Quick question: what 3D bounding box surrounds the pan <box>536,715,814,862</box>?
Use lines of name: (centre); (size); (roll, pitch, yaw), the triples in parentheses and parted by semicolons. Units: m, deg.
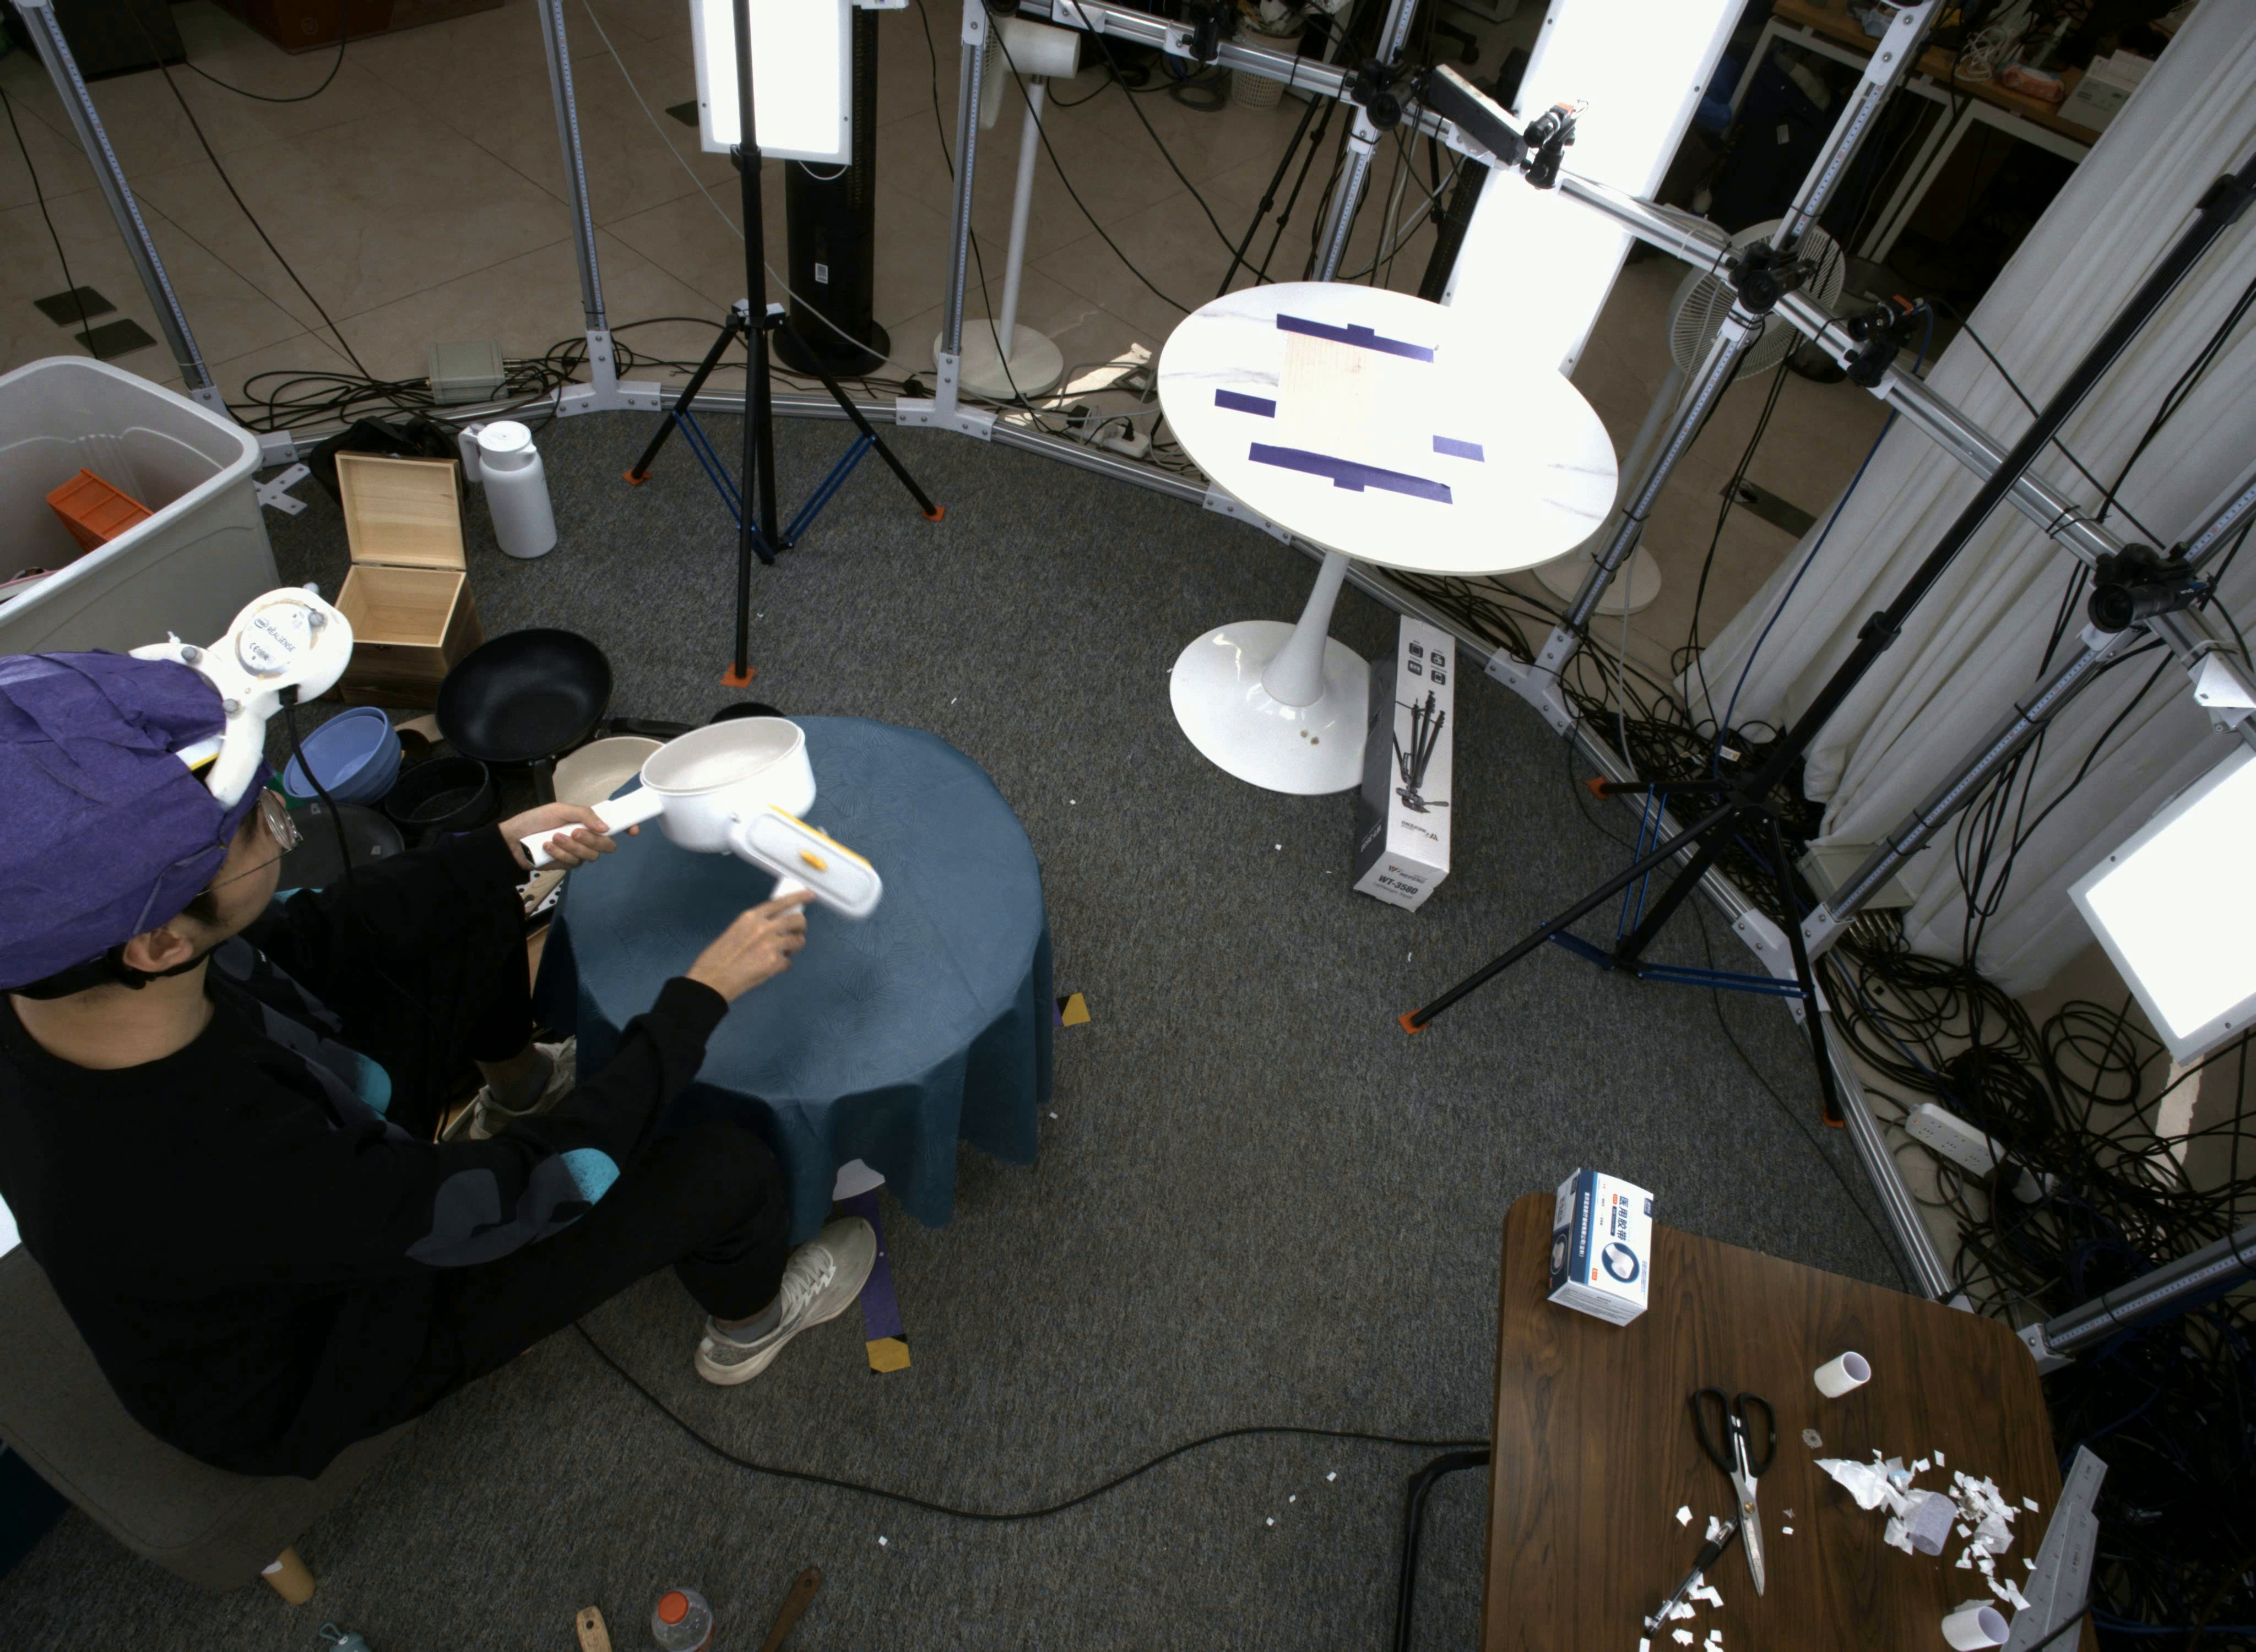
pan: (-0.542, -0.019, 1.536); (0.356, 0.105, 0.193); (-29, 33, -34)

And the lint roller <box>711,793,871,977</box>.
lint roller: (-0.399, 0.079, 1.481); (0.198, 0.072, 0.192); (30, 66, -32)
